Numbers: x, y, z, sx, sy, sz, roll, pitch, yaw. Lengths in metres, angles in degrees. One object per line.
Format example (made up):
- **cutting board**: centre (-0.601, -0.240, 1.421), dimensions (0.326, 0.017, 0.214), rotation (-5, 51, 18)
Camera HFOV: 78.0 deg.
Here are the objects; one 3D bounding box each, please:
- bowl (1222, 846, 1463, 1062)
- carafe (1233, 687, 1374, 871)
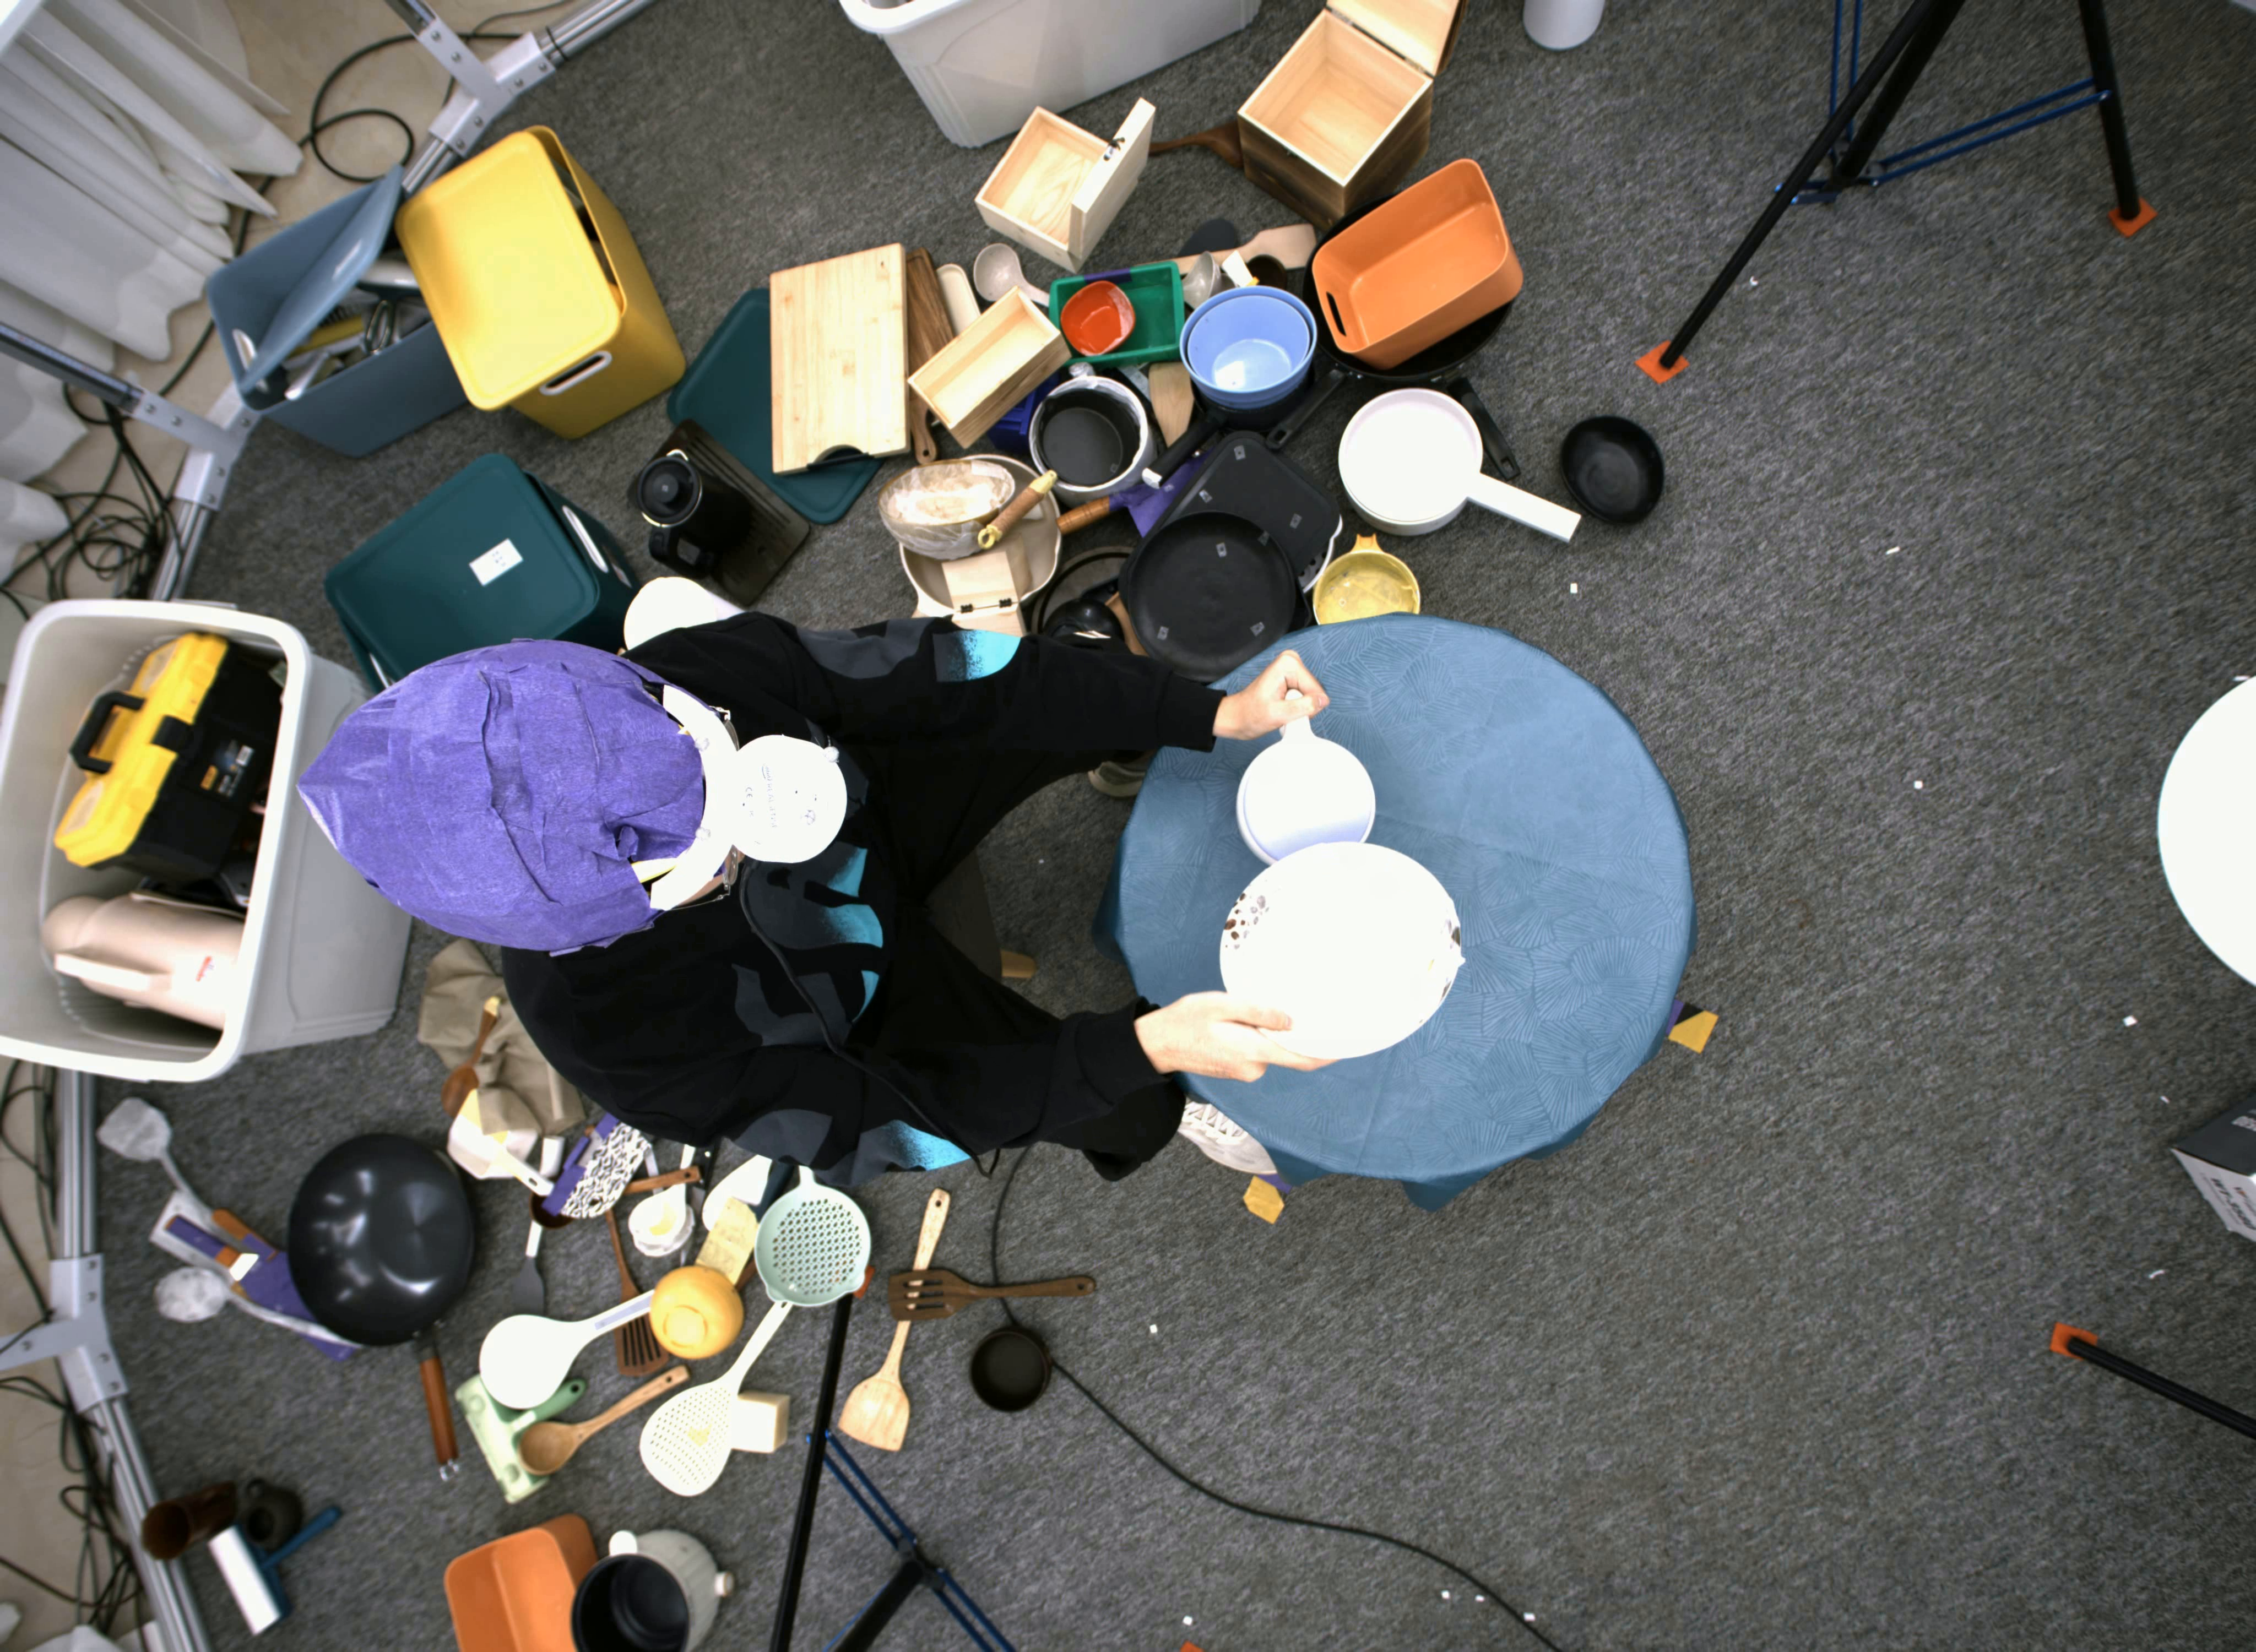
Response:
- **bowl**: centre (0.189, 0.121, 1.188), dimensions (0.205, 0.079, 0.199), rotation (-11, 57, 16)
- **carafe**: centre (0.166, -0.043, 1.349), dimensions (0.132, 0.182, 0.190), rotation (-8, 87, 3)
